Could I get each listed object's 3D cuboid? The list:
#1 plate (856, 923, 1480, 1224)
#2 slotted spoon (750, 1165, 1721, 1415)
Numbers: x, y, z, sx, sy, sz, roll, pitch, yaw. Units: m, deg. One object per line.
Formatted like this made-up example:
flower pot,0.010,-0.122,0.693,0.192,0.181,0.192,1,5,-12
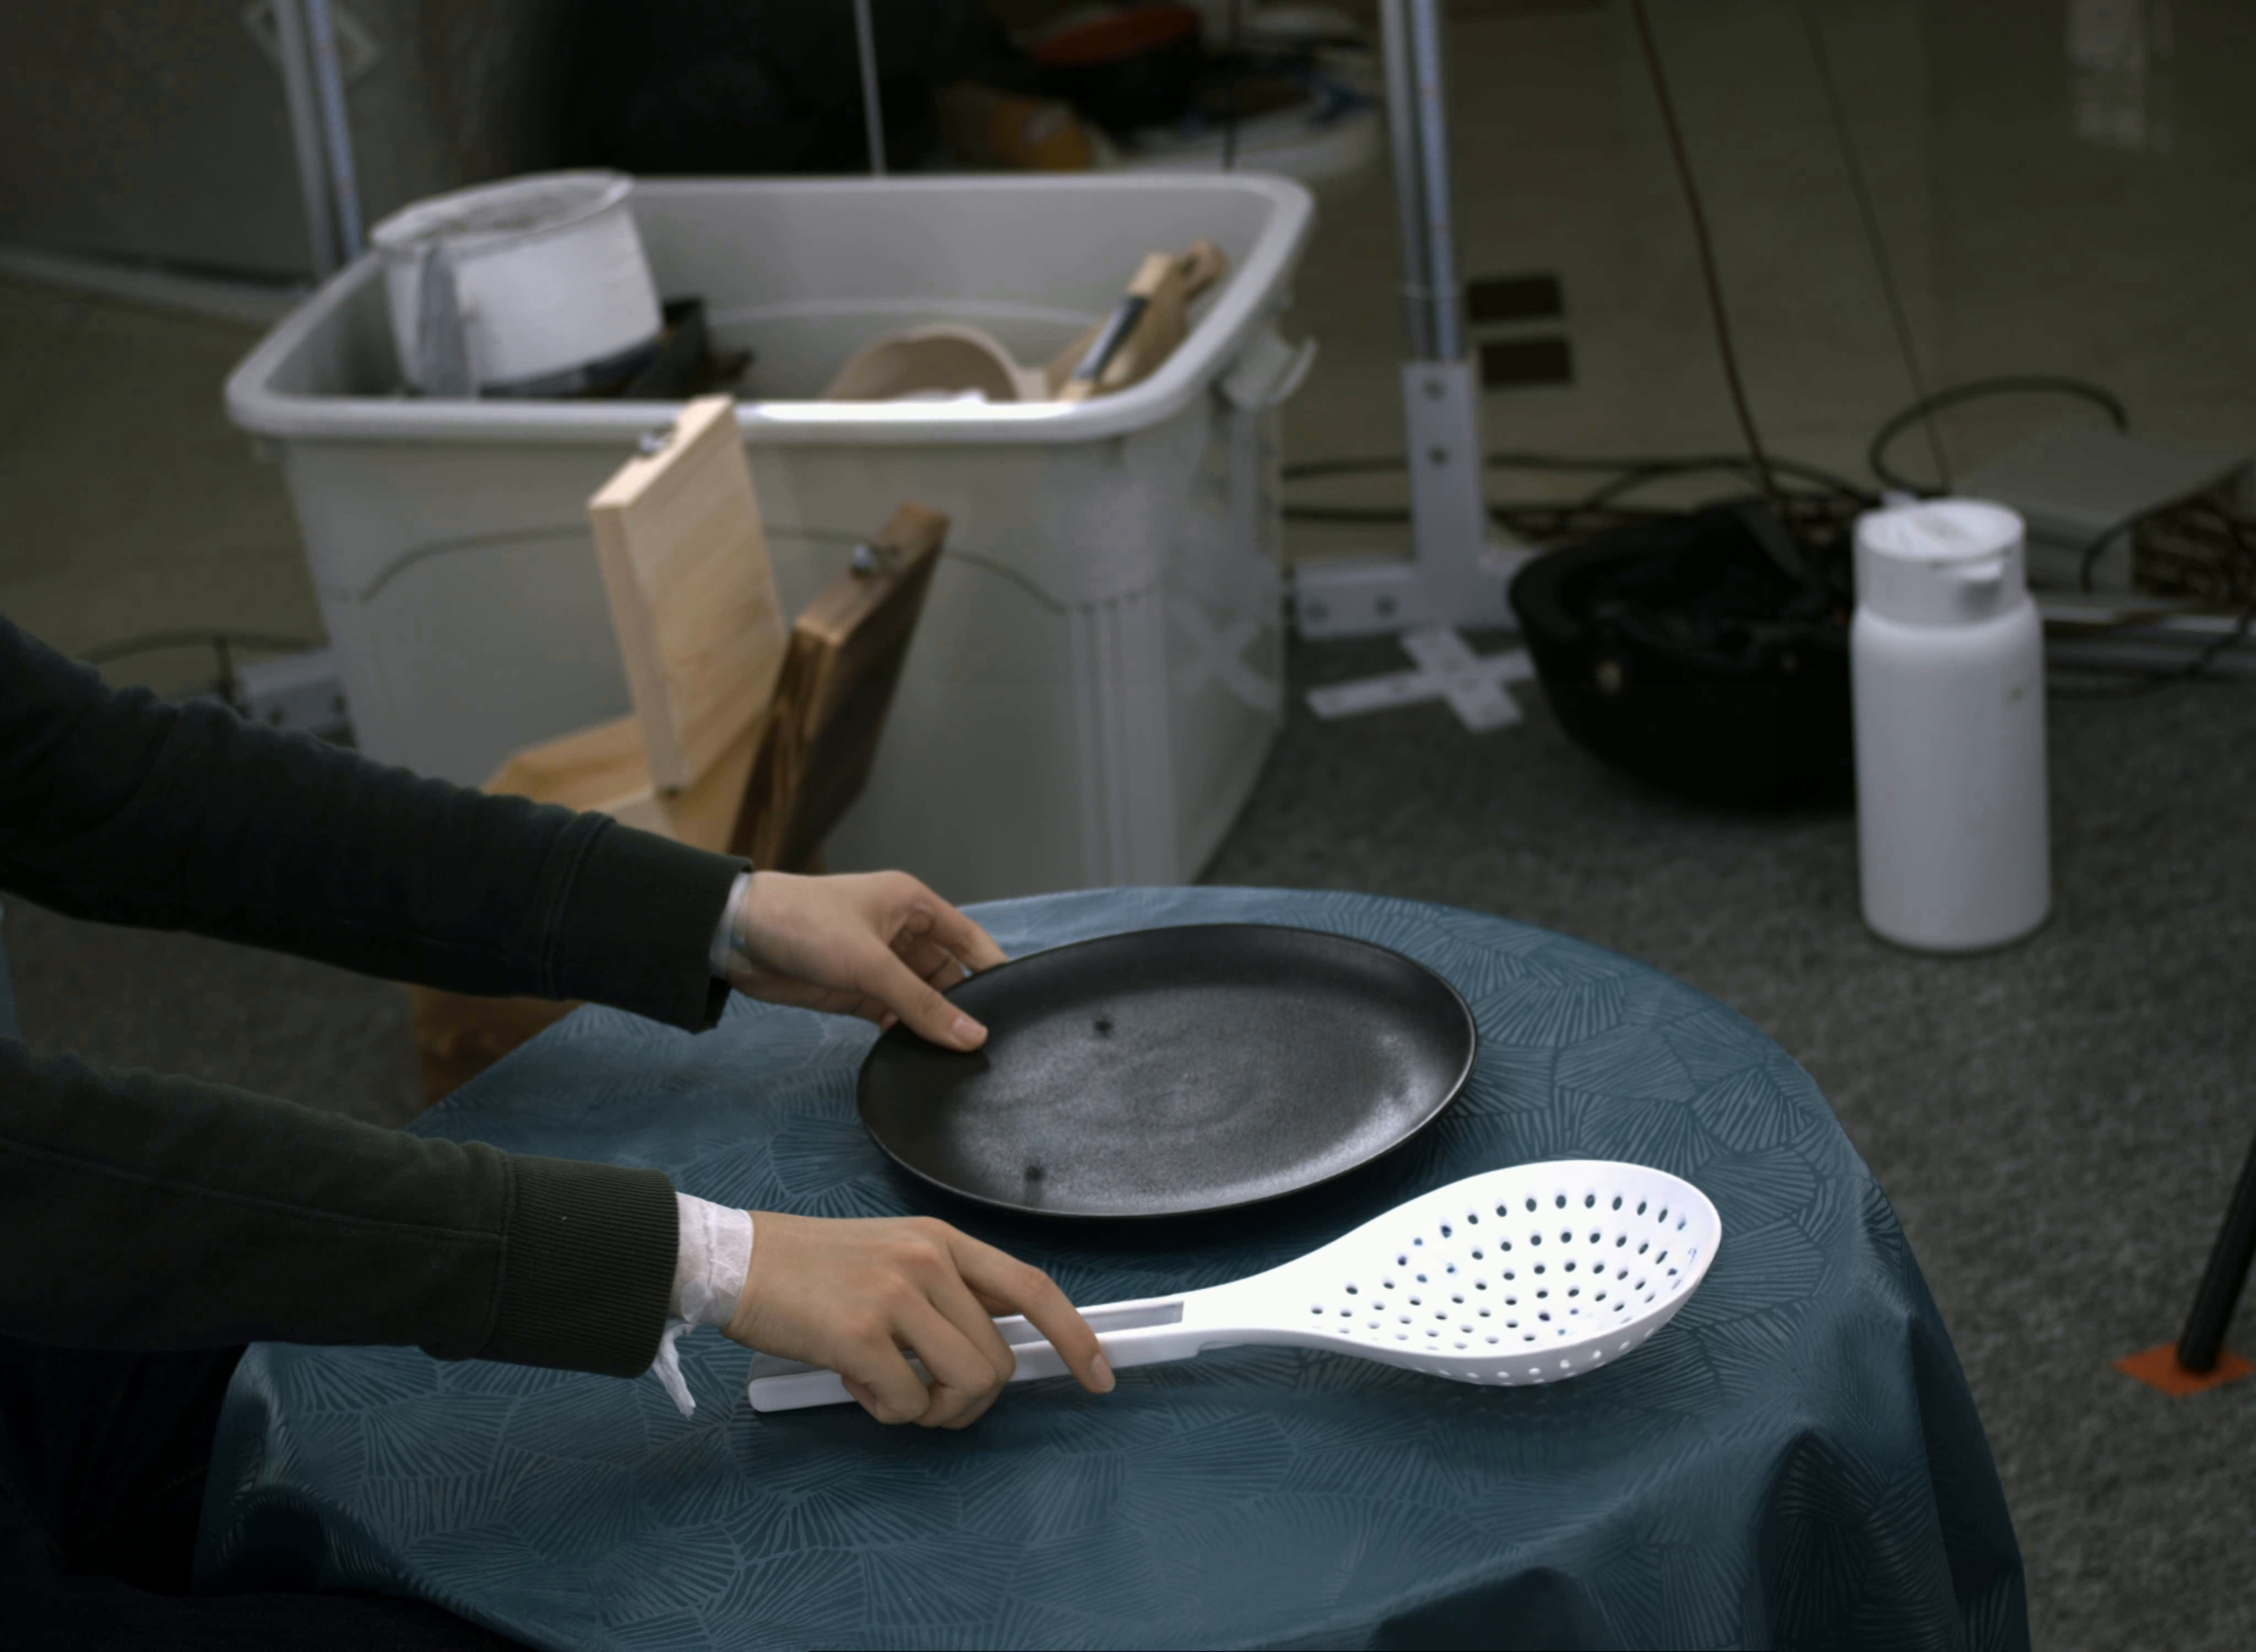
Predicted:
plate,0.016,0.101,2.202,0.244,0.024,0.241,-5,25,3
slotted spoon,0.036,0.175,2.013,0.349,0.046,0.134,-5,23,6
